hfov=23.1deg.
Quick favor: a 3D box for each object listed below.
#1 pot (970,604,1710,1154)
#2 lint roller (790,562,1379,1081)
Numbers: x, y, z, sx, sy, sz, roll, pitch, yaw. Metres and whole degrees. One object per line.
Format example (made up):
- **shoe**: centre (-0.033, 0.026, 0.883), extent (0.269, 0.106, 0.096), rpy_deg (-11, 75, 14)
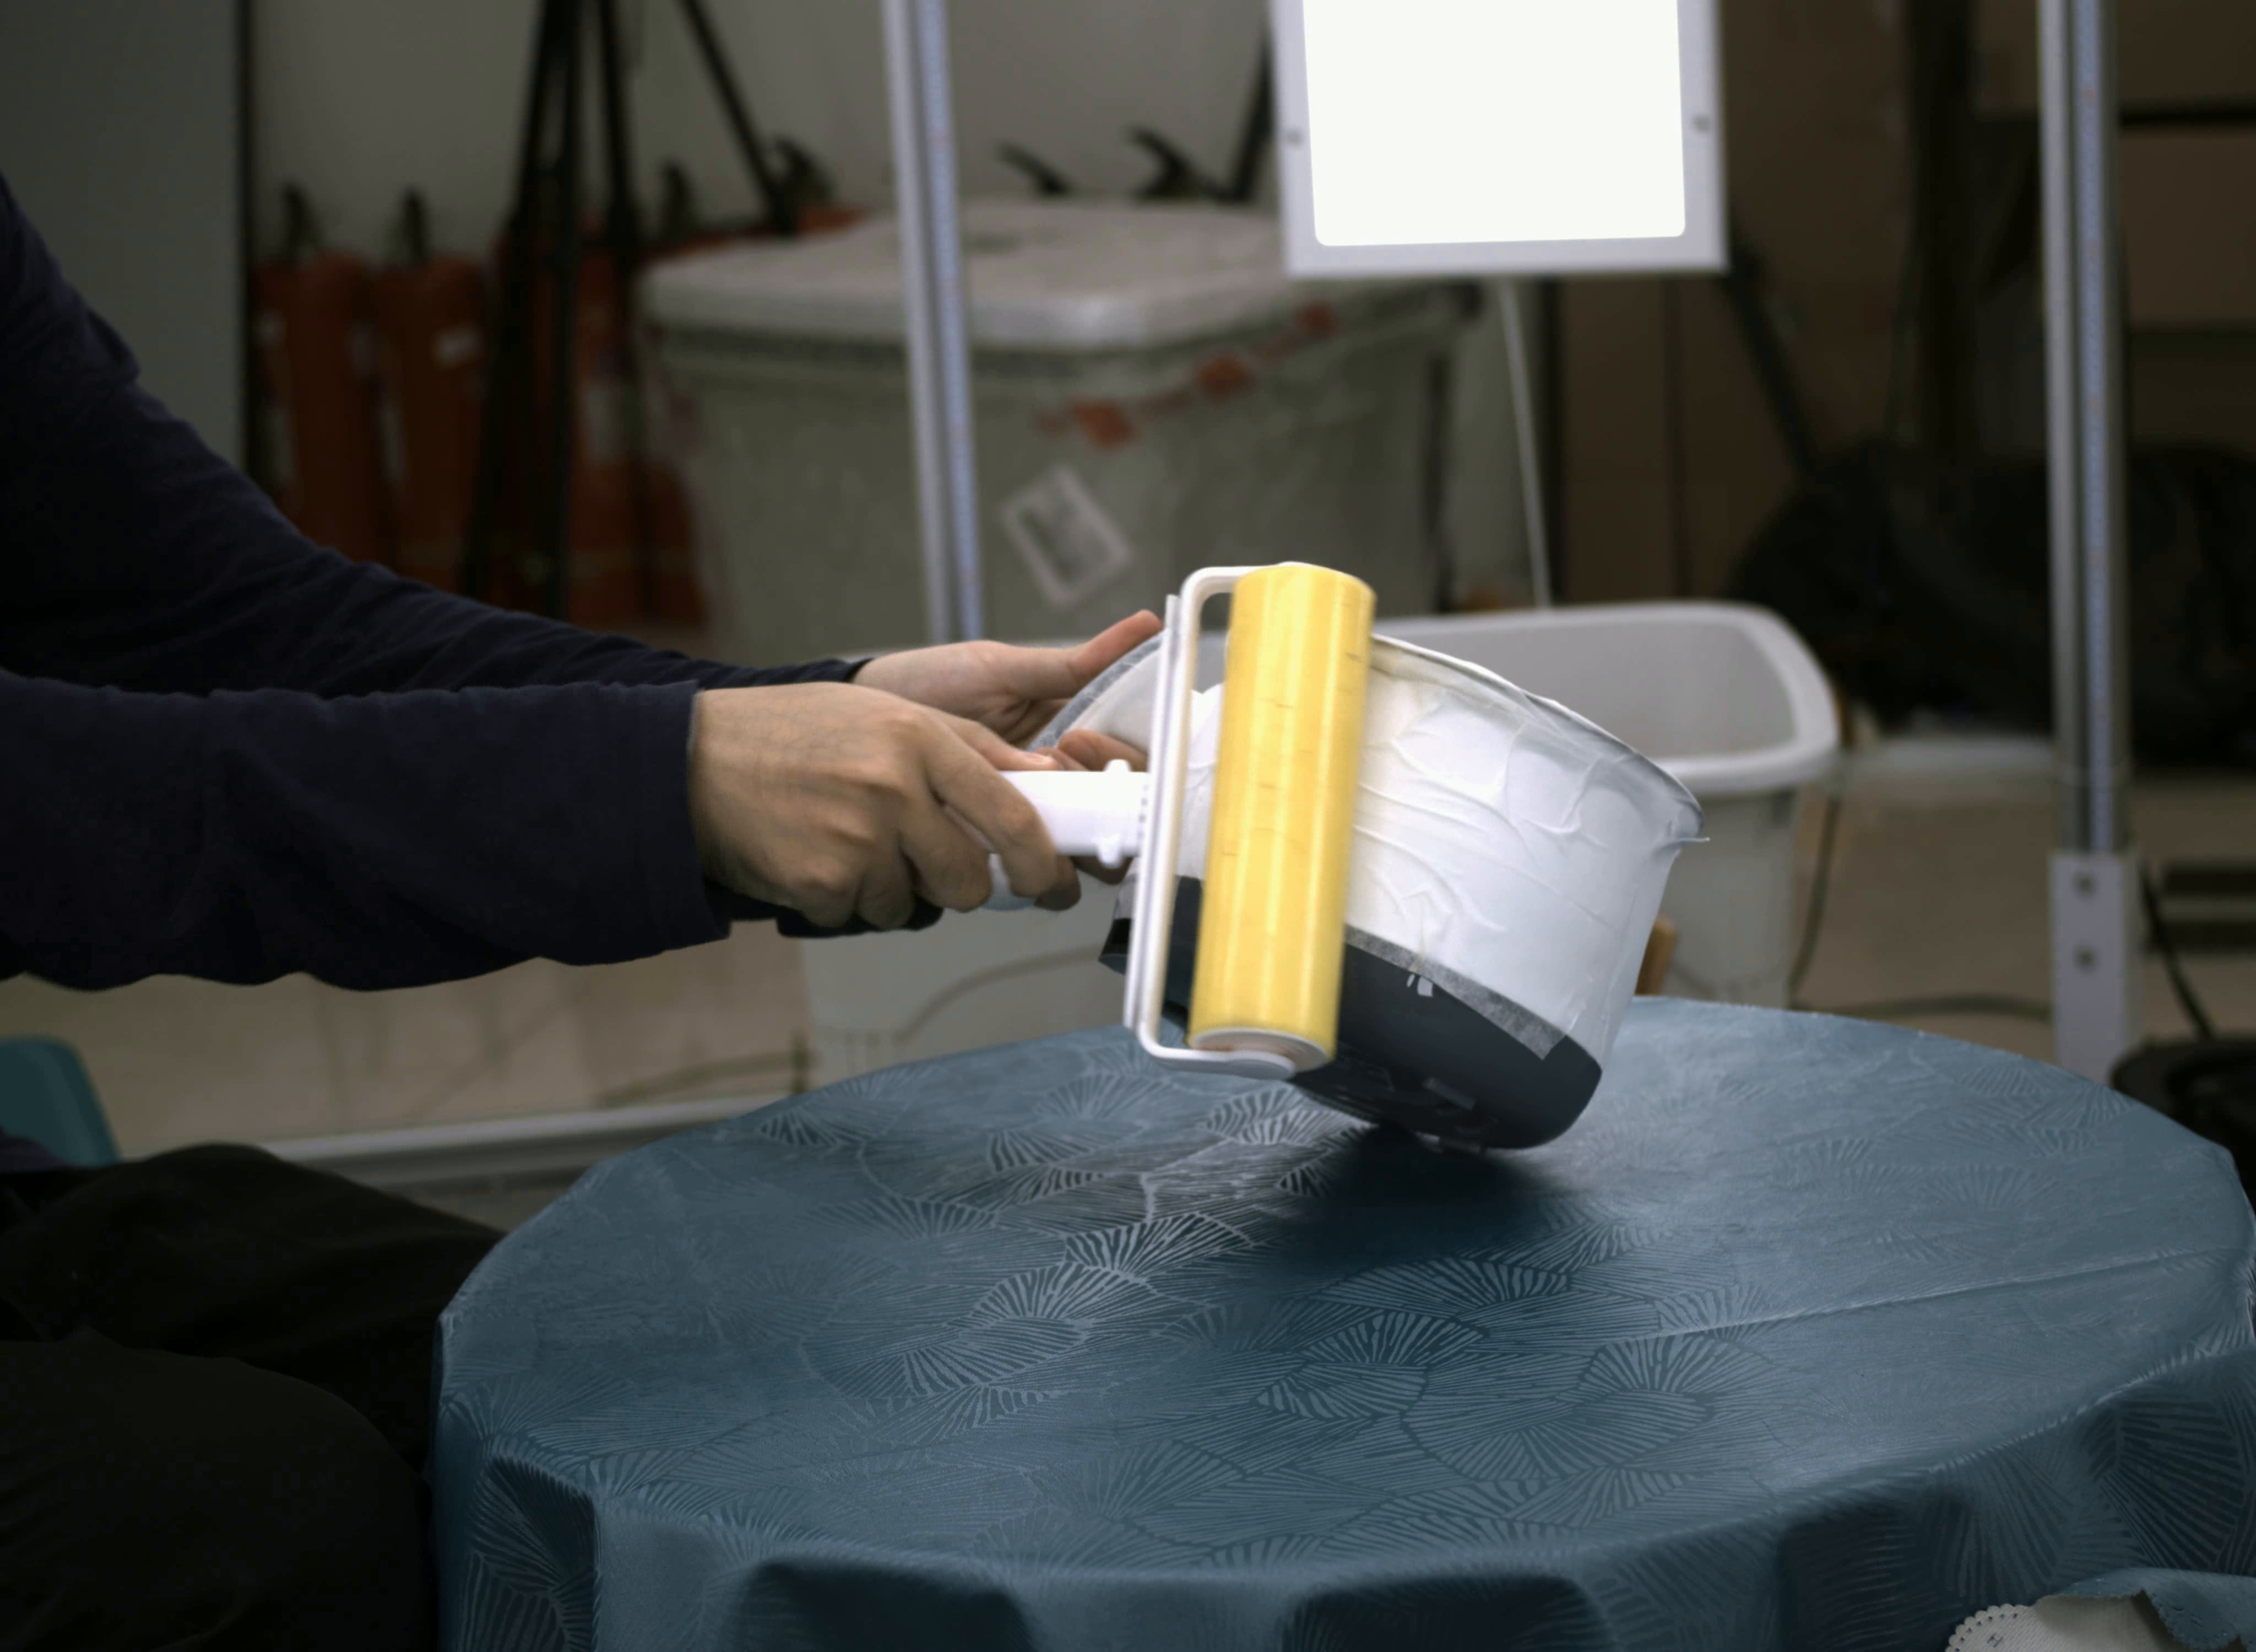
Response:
- **pot**: centre (0.068, 0.010, 1.890), extent (0.235, 0.136, 0.178), rpy_deg (23, -11, 11)
- **lint roller**: centre (-0.017, -0.005, 1.797), extent (0.192, 0.174, 0.051), rpy_deg (3, -20, 7)
